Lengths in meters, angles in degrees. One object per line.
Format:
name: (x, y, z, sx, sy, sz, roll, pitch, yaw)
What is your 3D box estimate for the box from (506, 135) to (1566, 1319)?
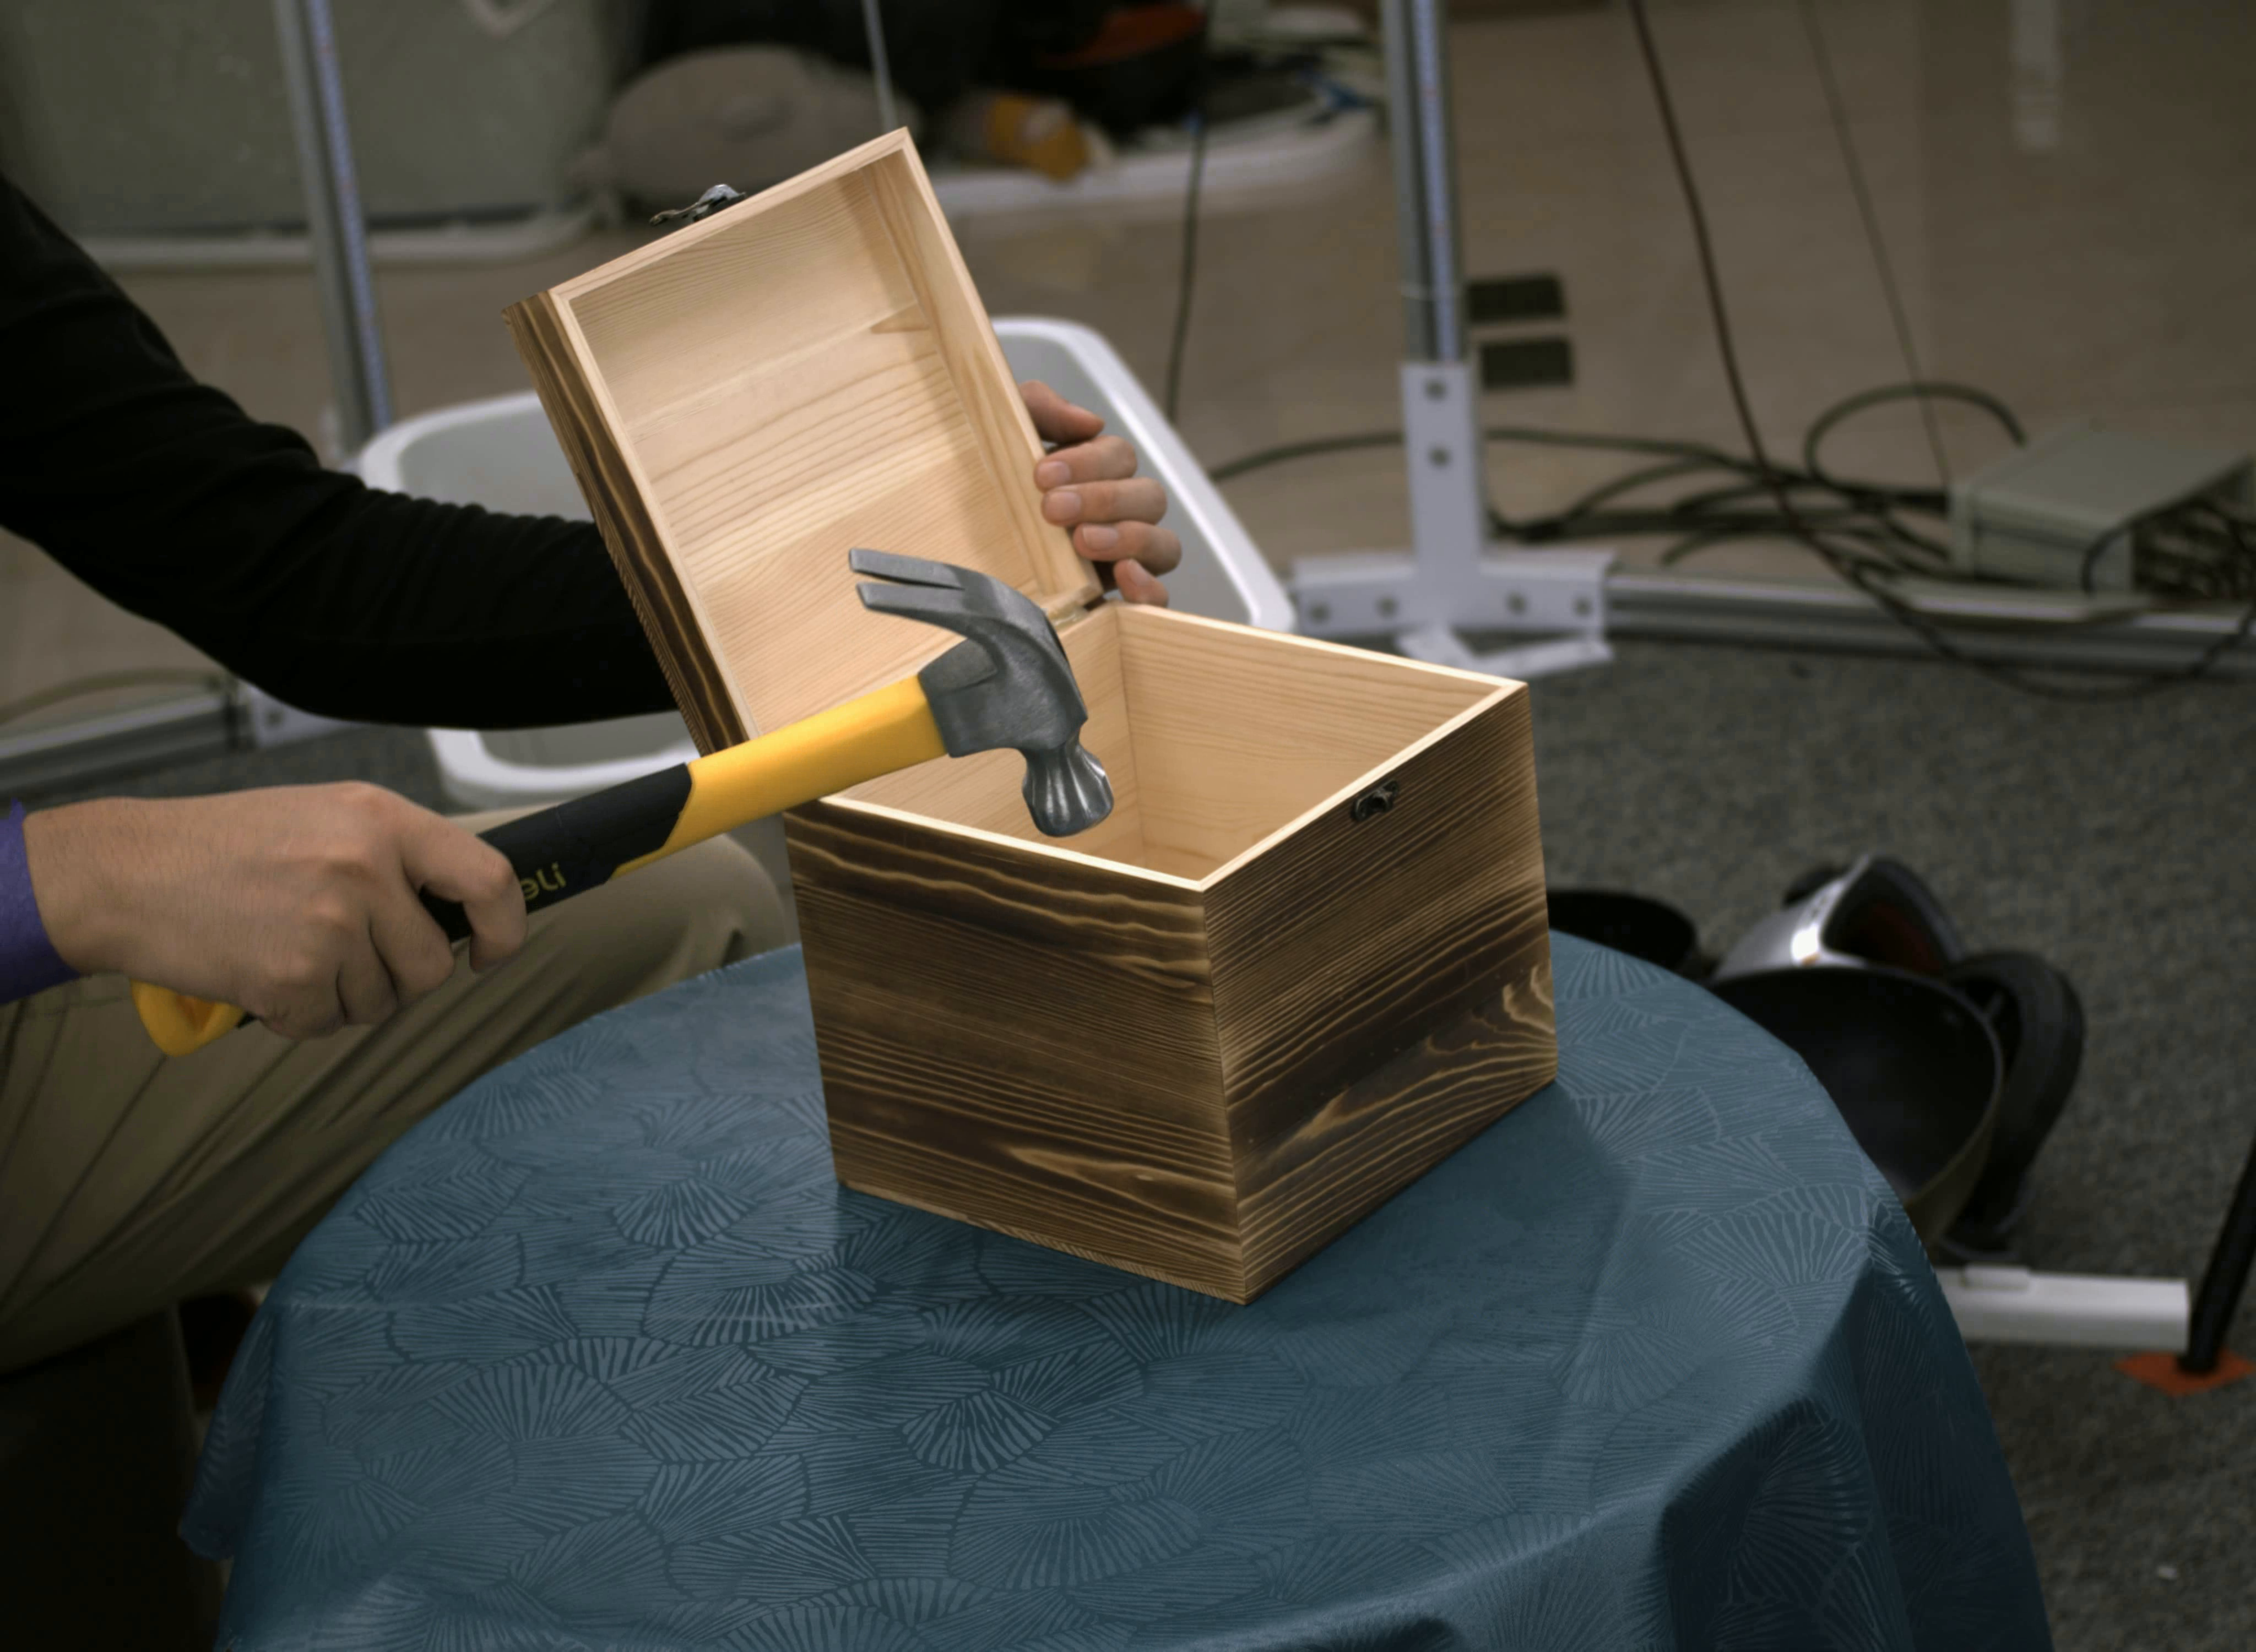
box: (-0.032, -0.050, 2.140, 0.320, 0.381, 0.206, 12, 32, 38)

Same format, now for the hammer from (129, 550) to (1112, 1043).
hammer: (-0.180, 0.001, 1.937, 0.338, 0.134, 0.031, -20, 42, 1)
